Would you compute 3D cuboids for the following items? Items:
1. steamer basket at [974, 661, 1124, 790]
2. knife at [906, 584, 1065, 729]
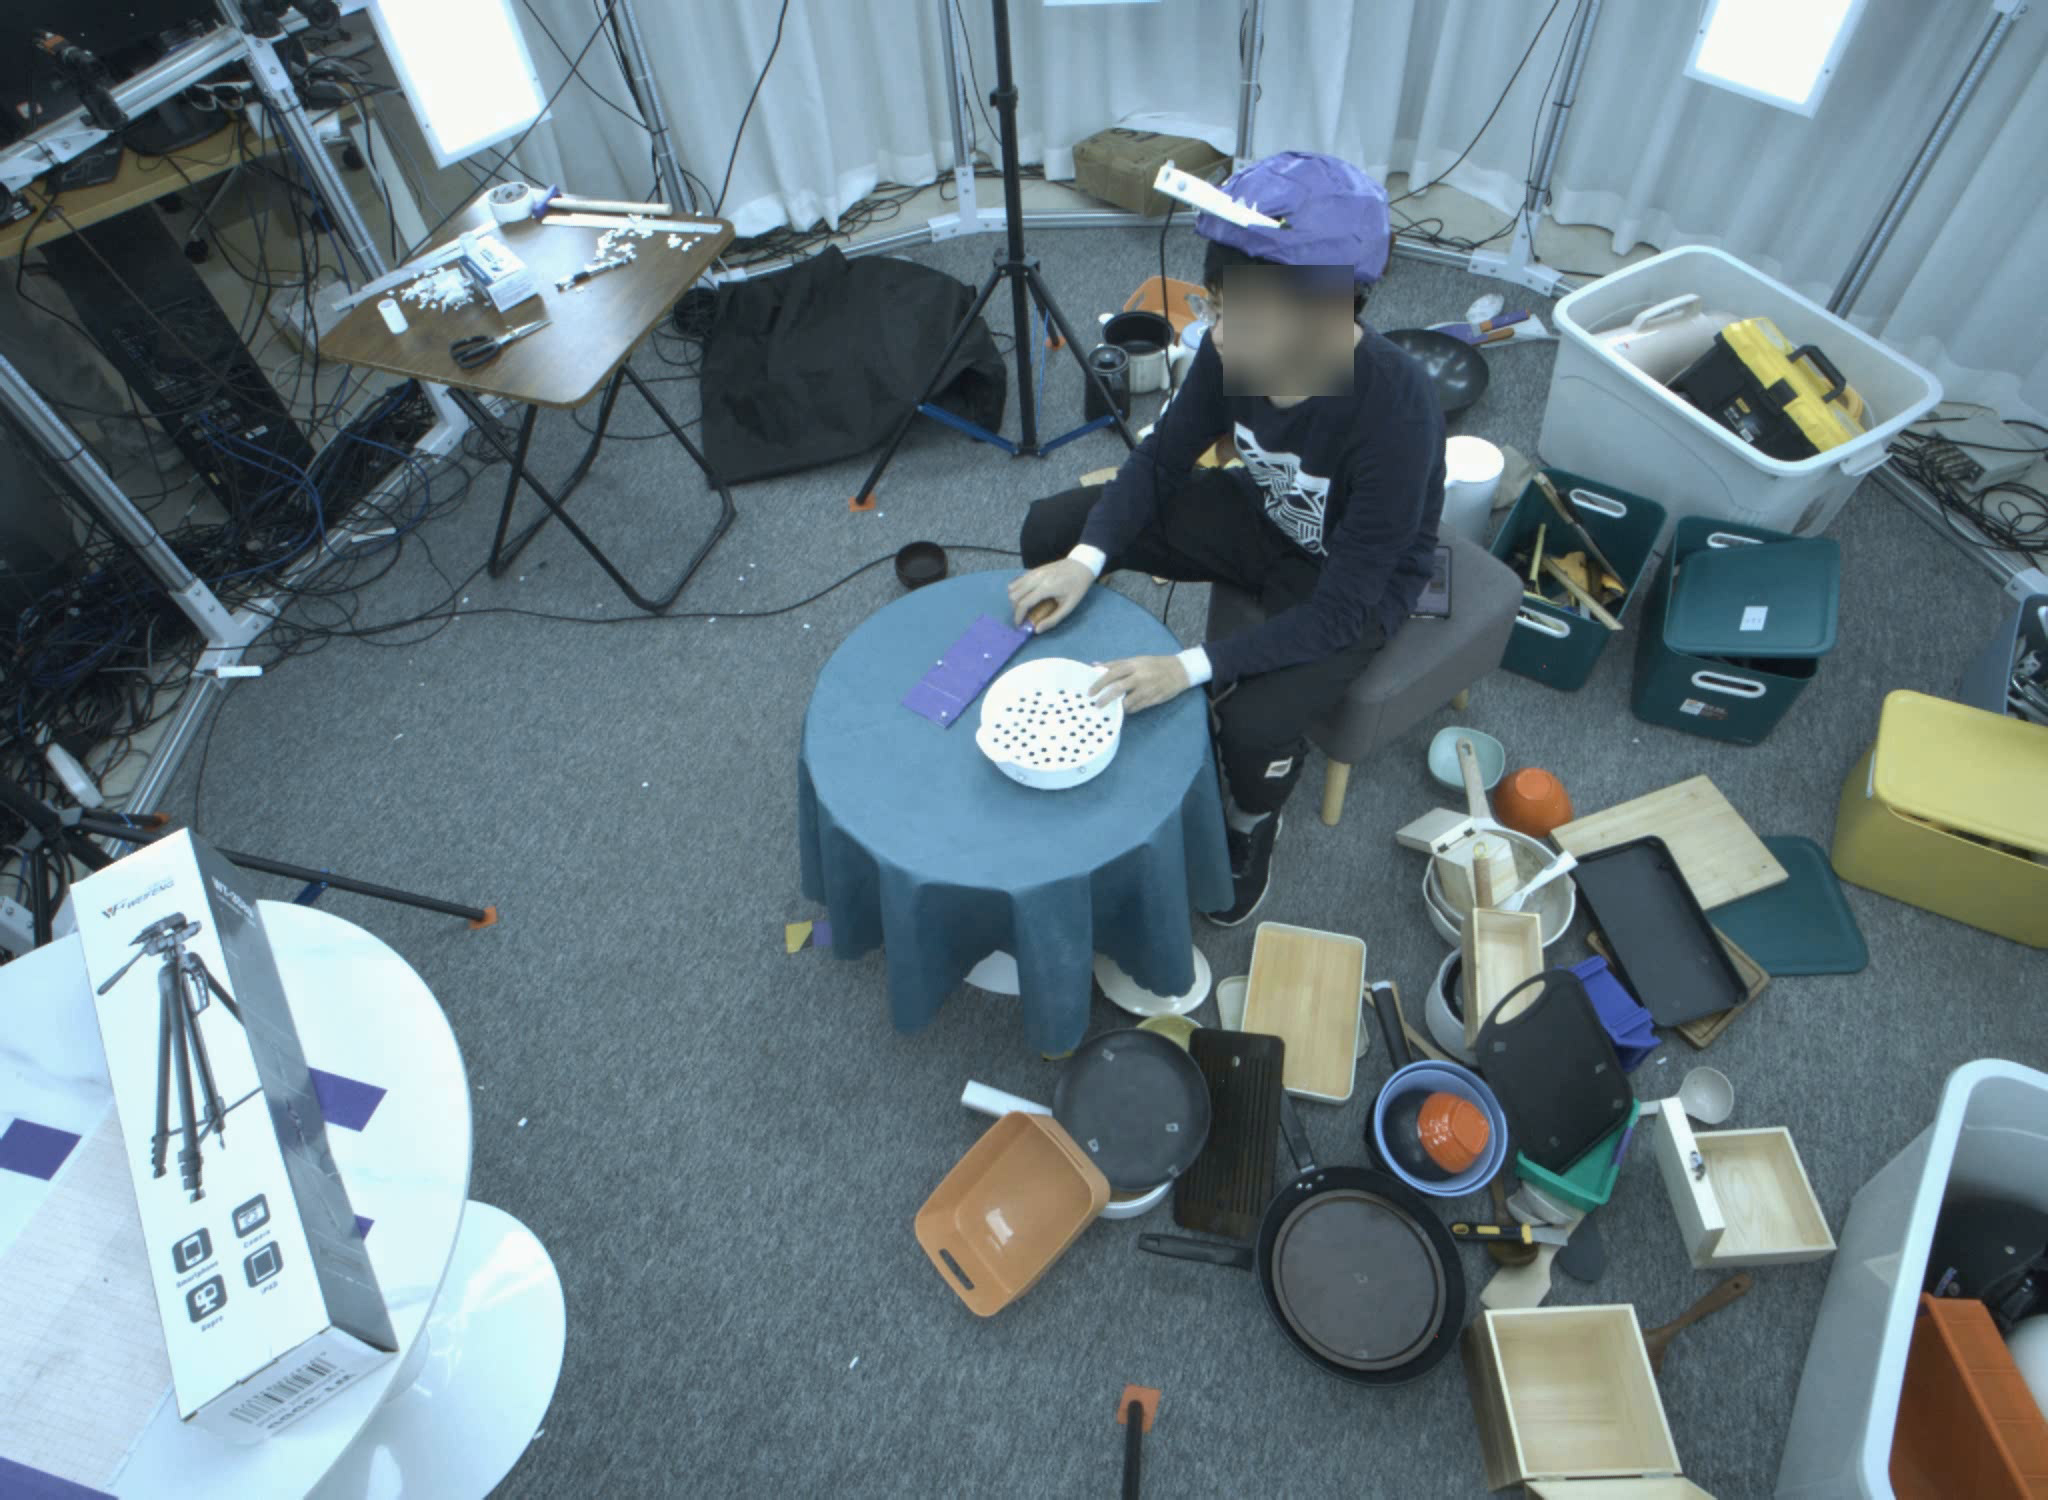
[{"bbox_3d":[0.037,-0.034,1.778,0.233,0.070,0.198,-26,59,-20],"label":"steamer basket"},{"bbox_3d":[-0.060,-0.161,1.895,0.102,0.032,0.316,30,61,20],"label":"knife"}]
